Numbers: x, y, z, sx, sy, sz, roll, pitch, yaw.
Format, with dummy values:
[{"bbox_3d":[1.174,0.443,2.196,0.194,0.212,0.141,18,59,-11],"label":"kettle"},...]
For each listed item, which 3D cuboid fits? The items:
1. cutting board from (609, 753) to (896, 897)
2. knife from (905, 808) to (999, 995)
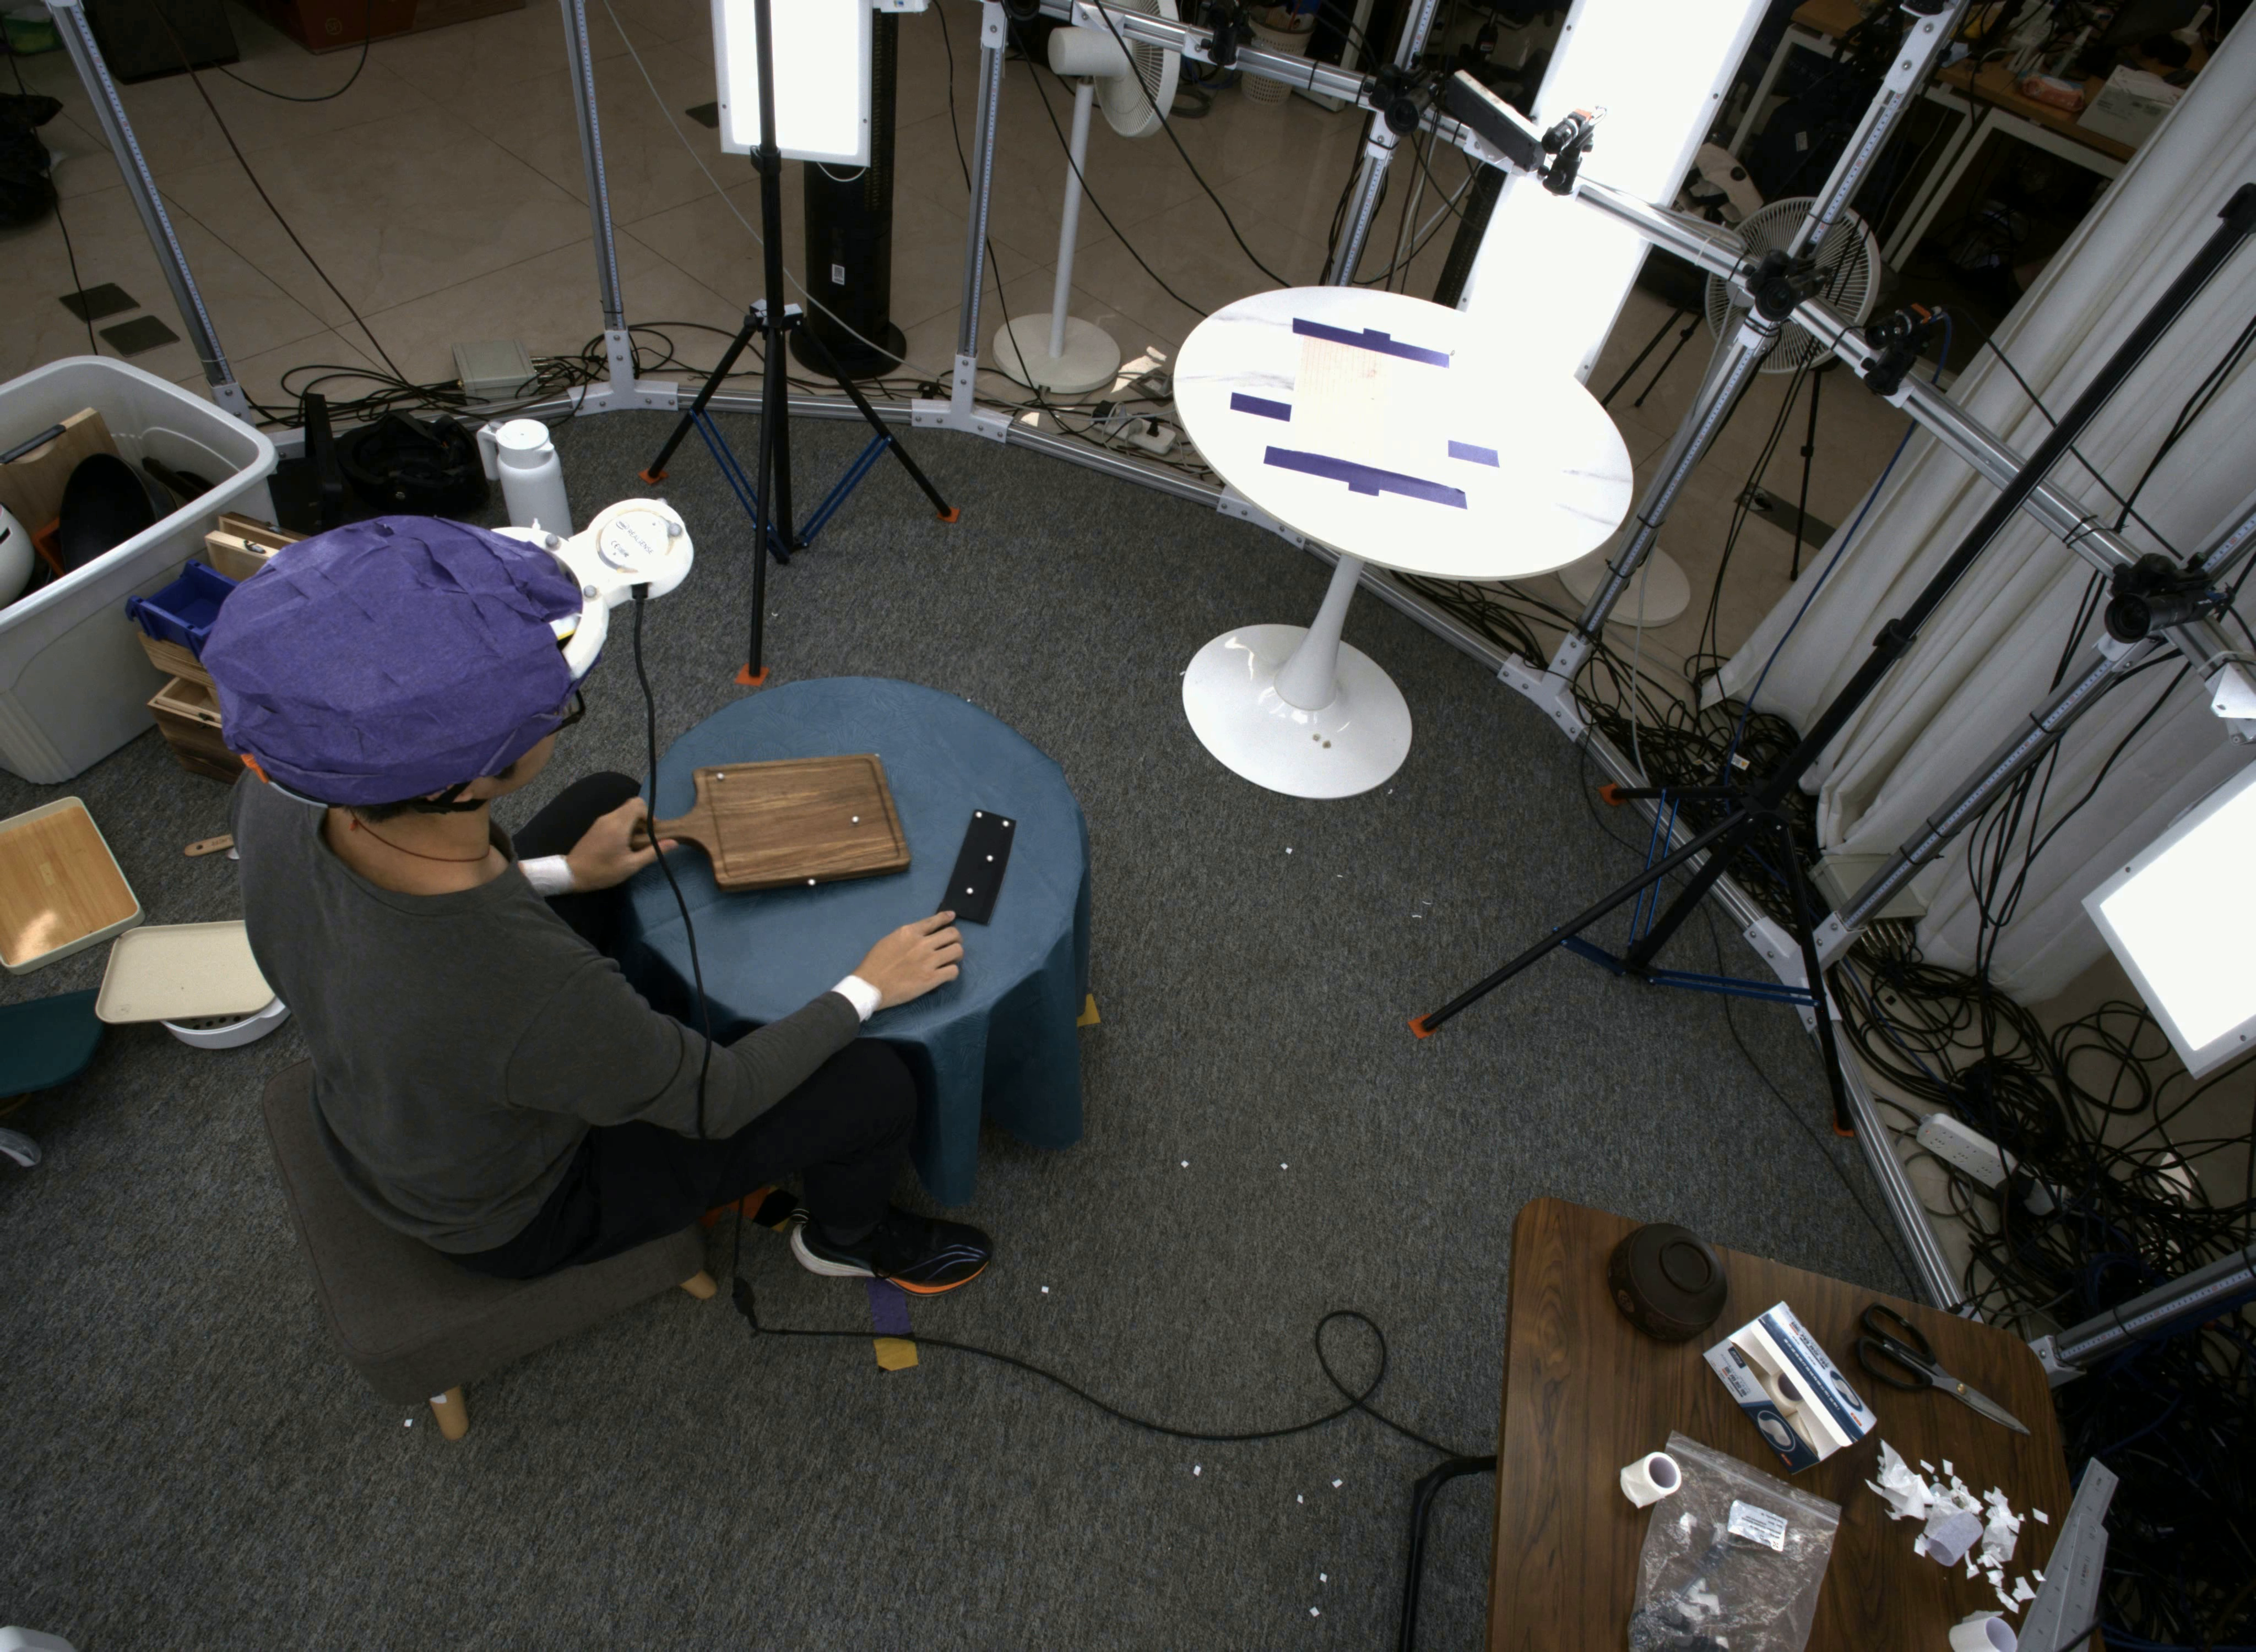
[{"bbox_3d":[-0.494,-0.002,1.677,0.355,0.023,0.196,-7,56,-28],"label":"cutting board"},{"bbox_3d":[-0.230,0.092,1.708,0.080,0.021,0.298,19,50,-3],"label":"knife"}]
